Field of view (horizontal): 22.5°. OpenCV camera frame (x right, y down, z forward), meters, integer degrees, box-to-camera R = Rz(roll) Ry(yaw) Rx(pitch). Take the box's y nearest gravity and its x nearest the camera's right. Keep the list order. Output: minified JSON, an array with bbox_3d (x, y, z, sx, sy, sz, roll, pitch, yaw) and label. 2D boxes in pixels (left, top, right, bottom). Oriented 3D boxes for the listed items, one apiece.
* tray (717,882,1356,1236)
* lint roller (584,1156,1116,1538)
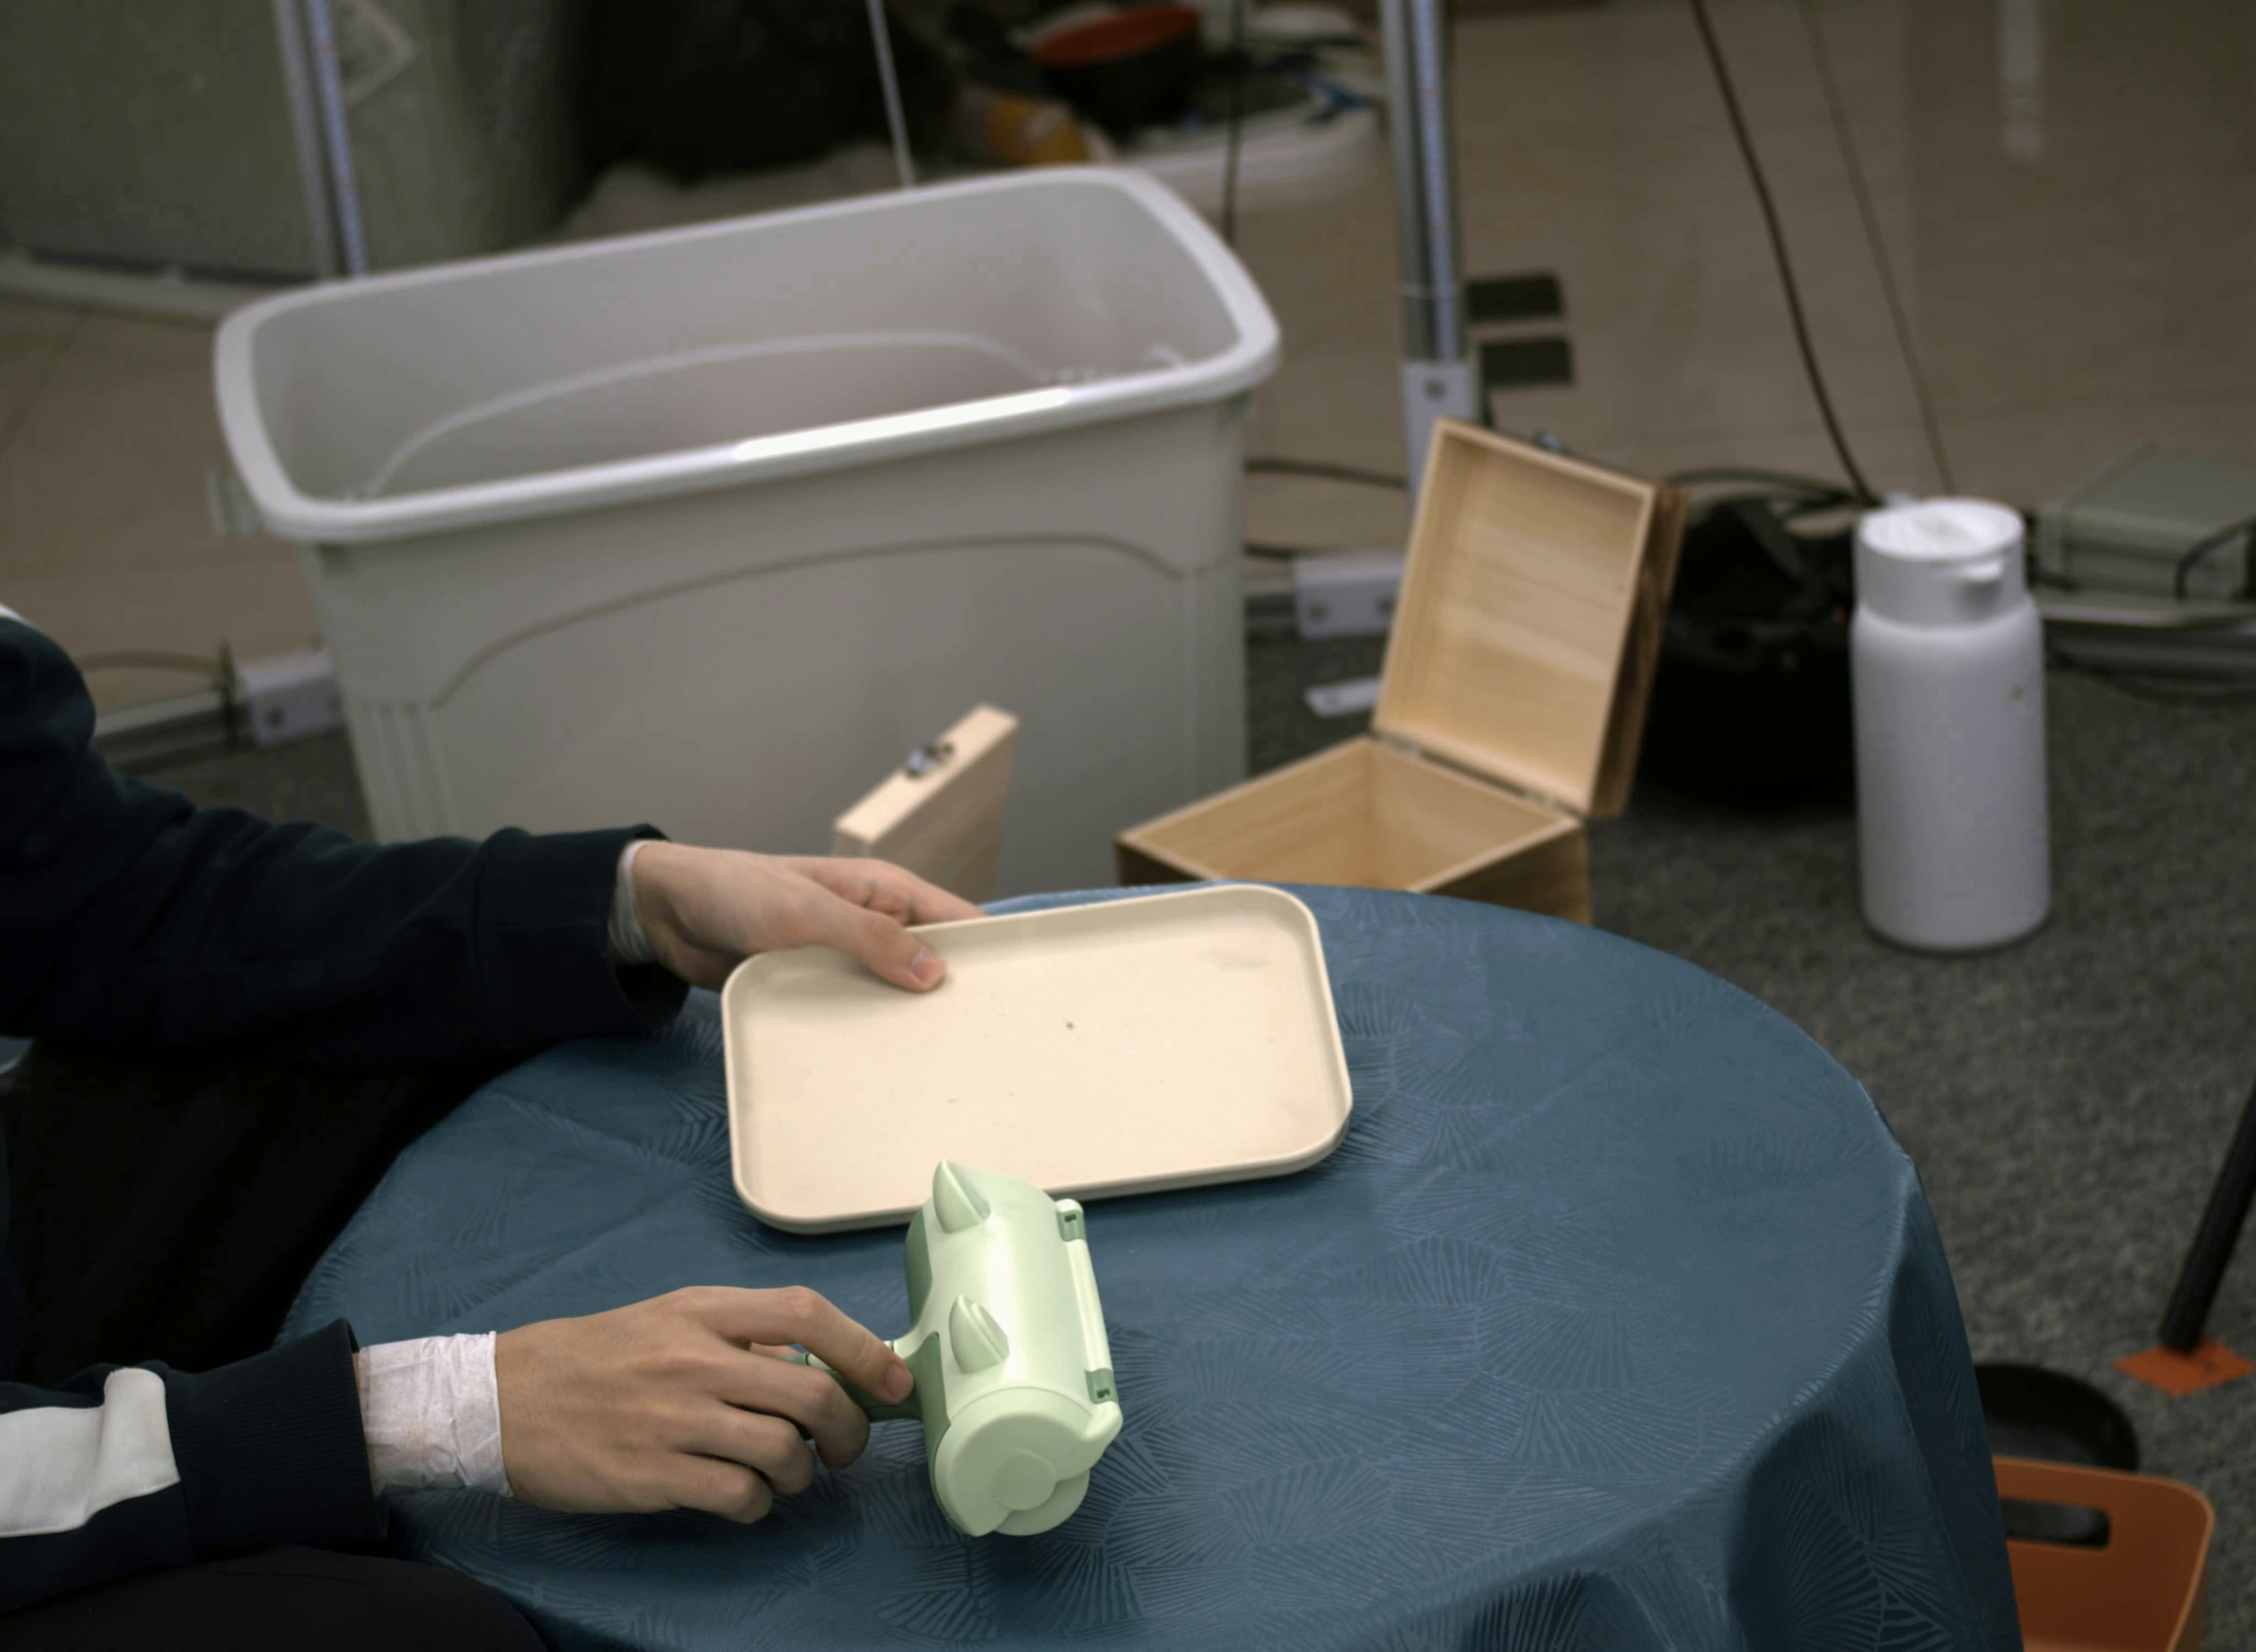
[{"bbox_3d":[-0.037,0.091,2.196,0.239,0.018,0.168,-8,38,-2],"label":"tray"},{"bbox_3d":[-0.101,0.180,1.964,0.183,0.083,0.196,-6,21,-2],"label":"lint roller"}]
